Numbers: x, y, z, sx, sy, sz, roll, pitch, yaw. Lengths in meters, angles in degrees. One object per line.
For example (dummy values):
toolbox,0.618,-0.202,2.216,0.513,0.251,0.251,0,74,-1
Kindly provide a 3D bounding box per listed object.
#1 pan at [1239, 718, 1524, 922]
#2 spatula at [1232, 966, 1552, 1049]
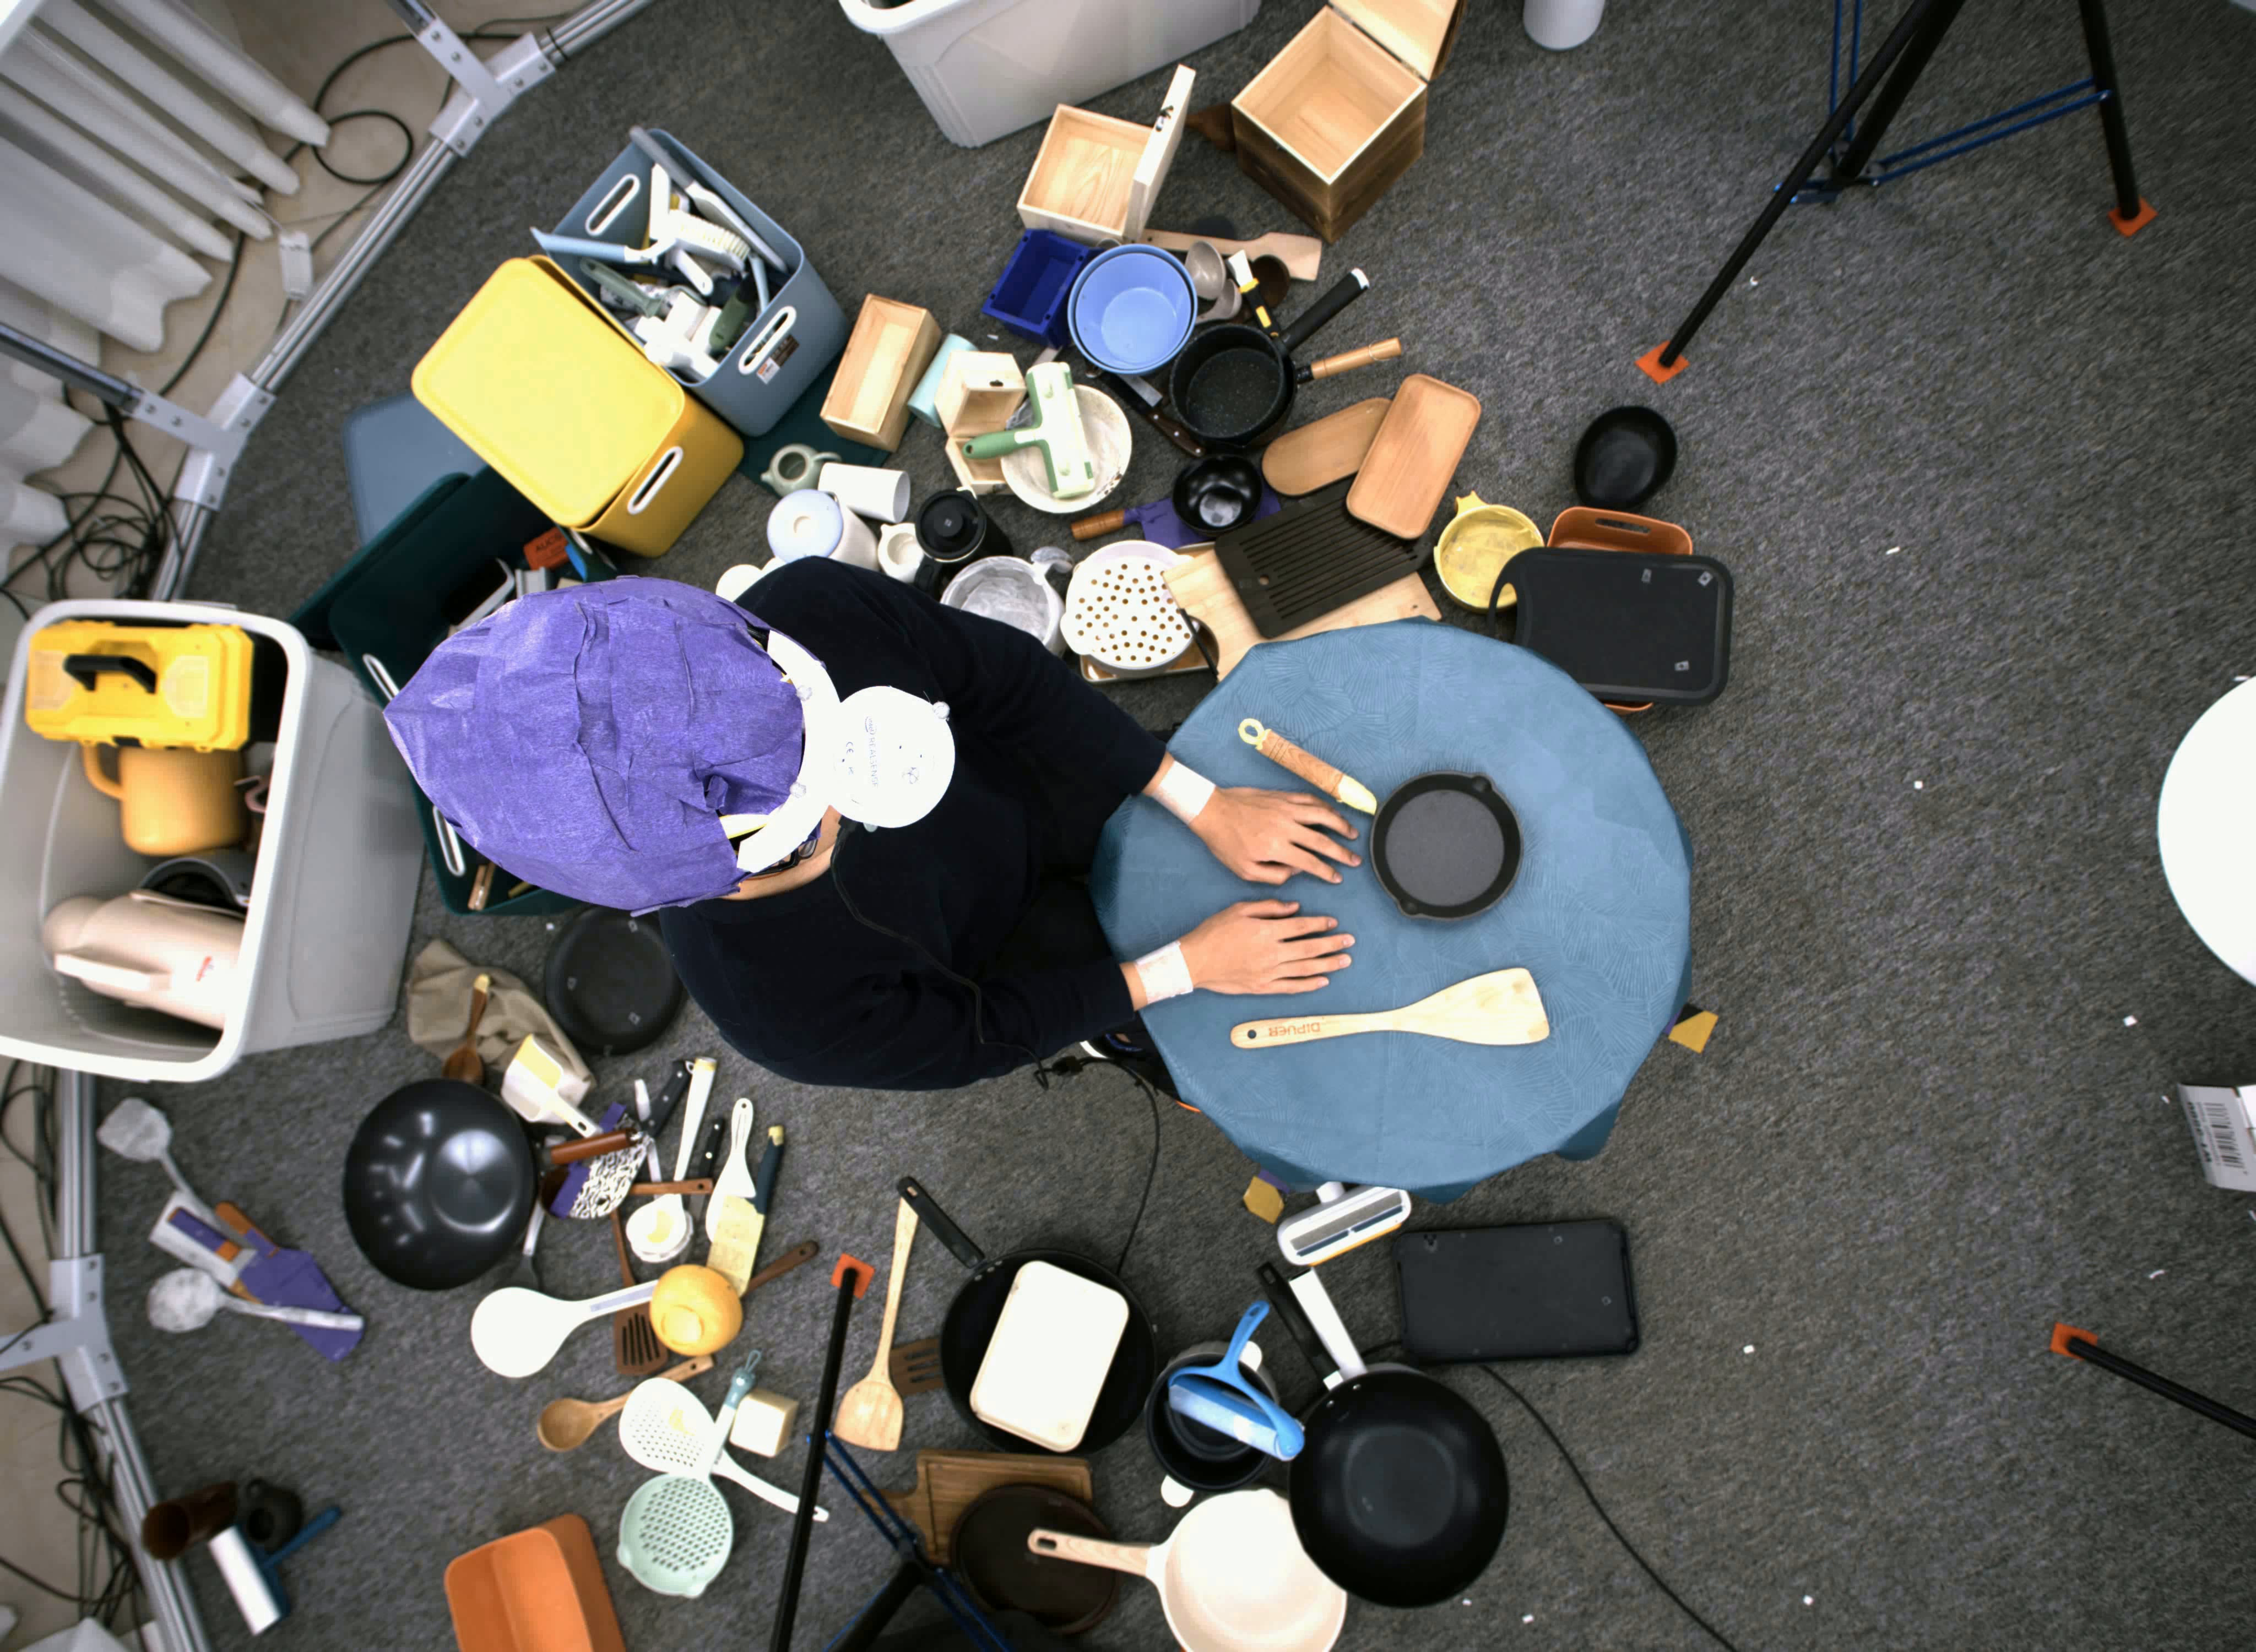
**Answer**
pan,0.259,-0.025,1.442,0.323,0.049,0.169,32,93,9
spatula,0.271,0.200,1.445,0.329,0.016,0.079,-8,84,10
